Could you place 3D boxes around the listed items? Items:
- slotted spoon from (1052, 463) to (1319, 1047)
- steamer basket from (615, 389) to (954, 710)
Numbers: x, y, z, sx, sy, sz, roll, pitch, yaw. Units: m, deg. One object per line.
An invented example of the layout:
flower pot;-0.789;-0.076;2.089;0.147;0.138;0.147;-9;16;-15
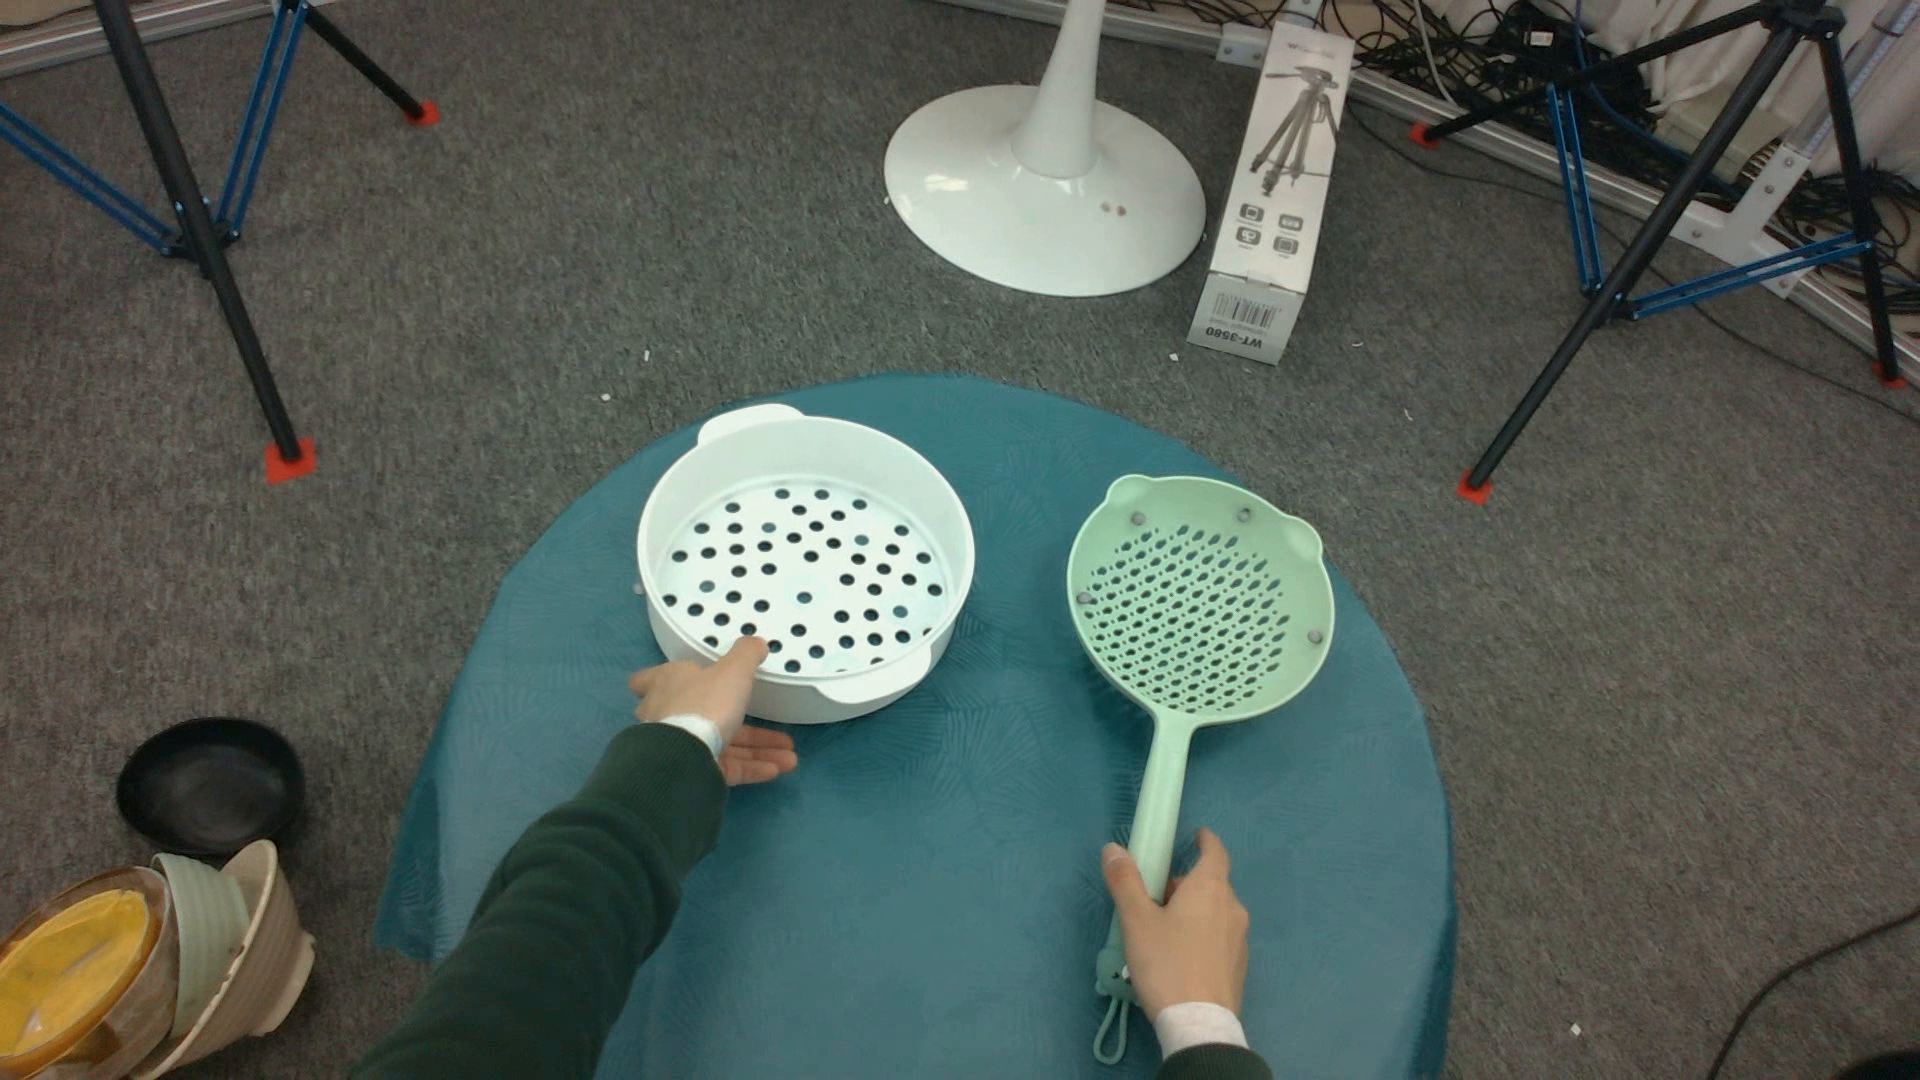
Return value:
slotted spoon;0.115;0.111;0.810;0.169;0.075;0.360;16;51;2
steamer basket;-0.107;0.009;0.847;0.202;0.069;0.231;-18;58;-23
